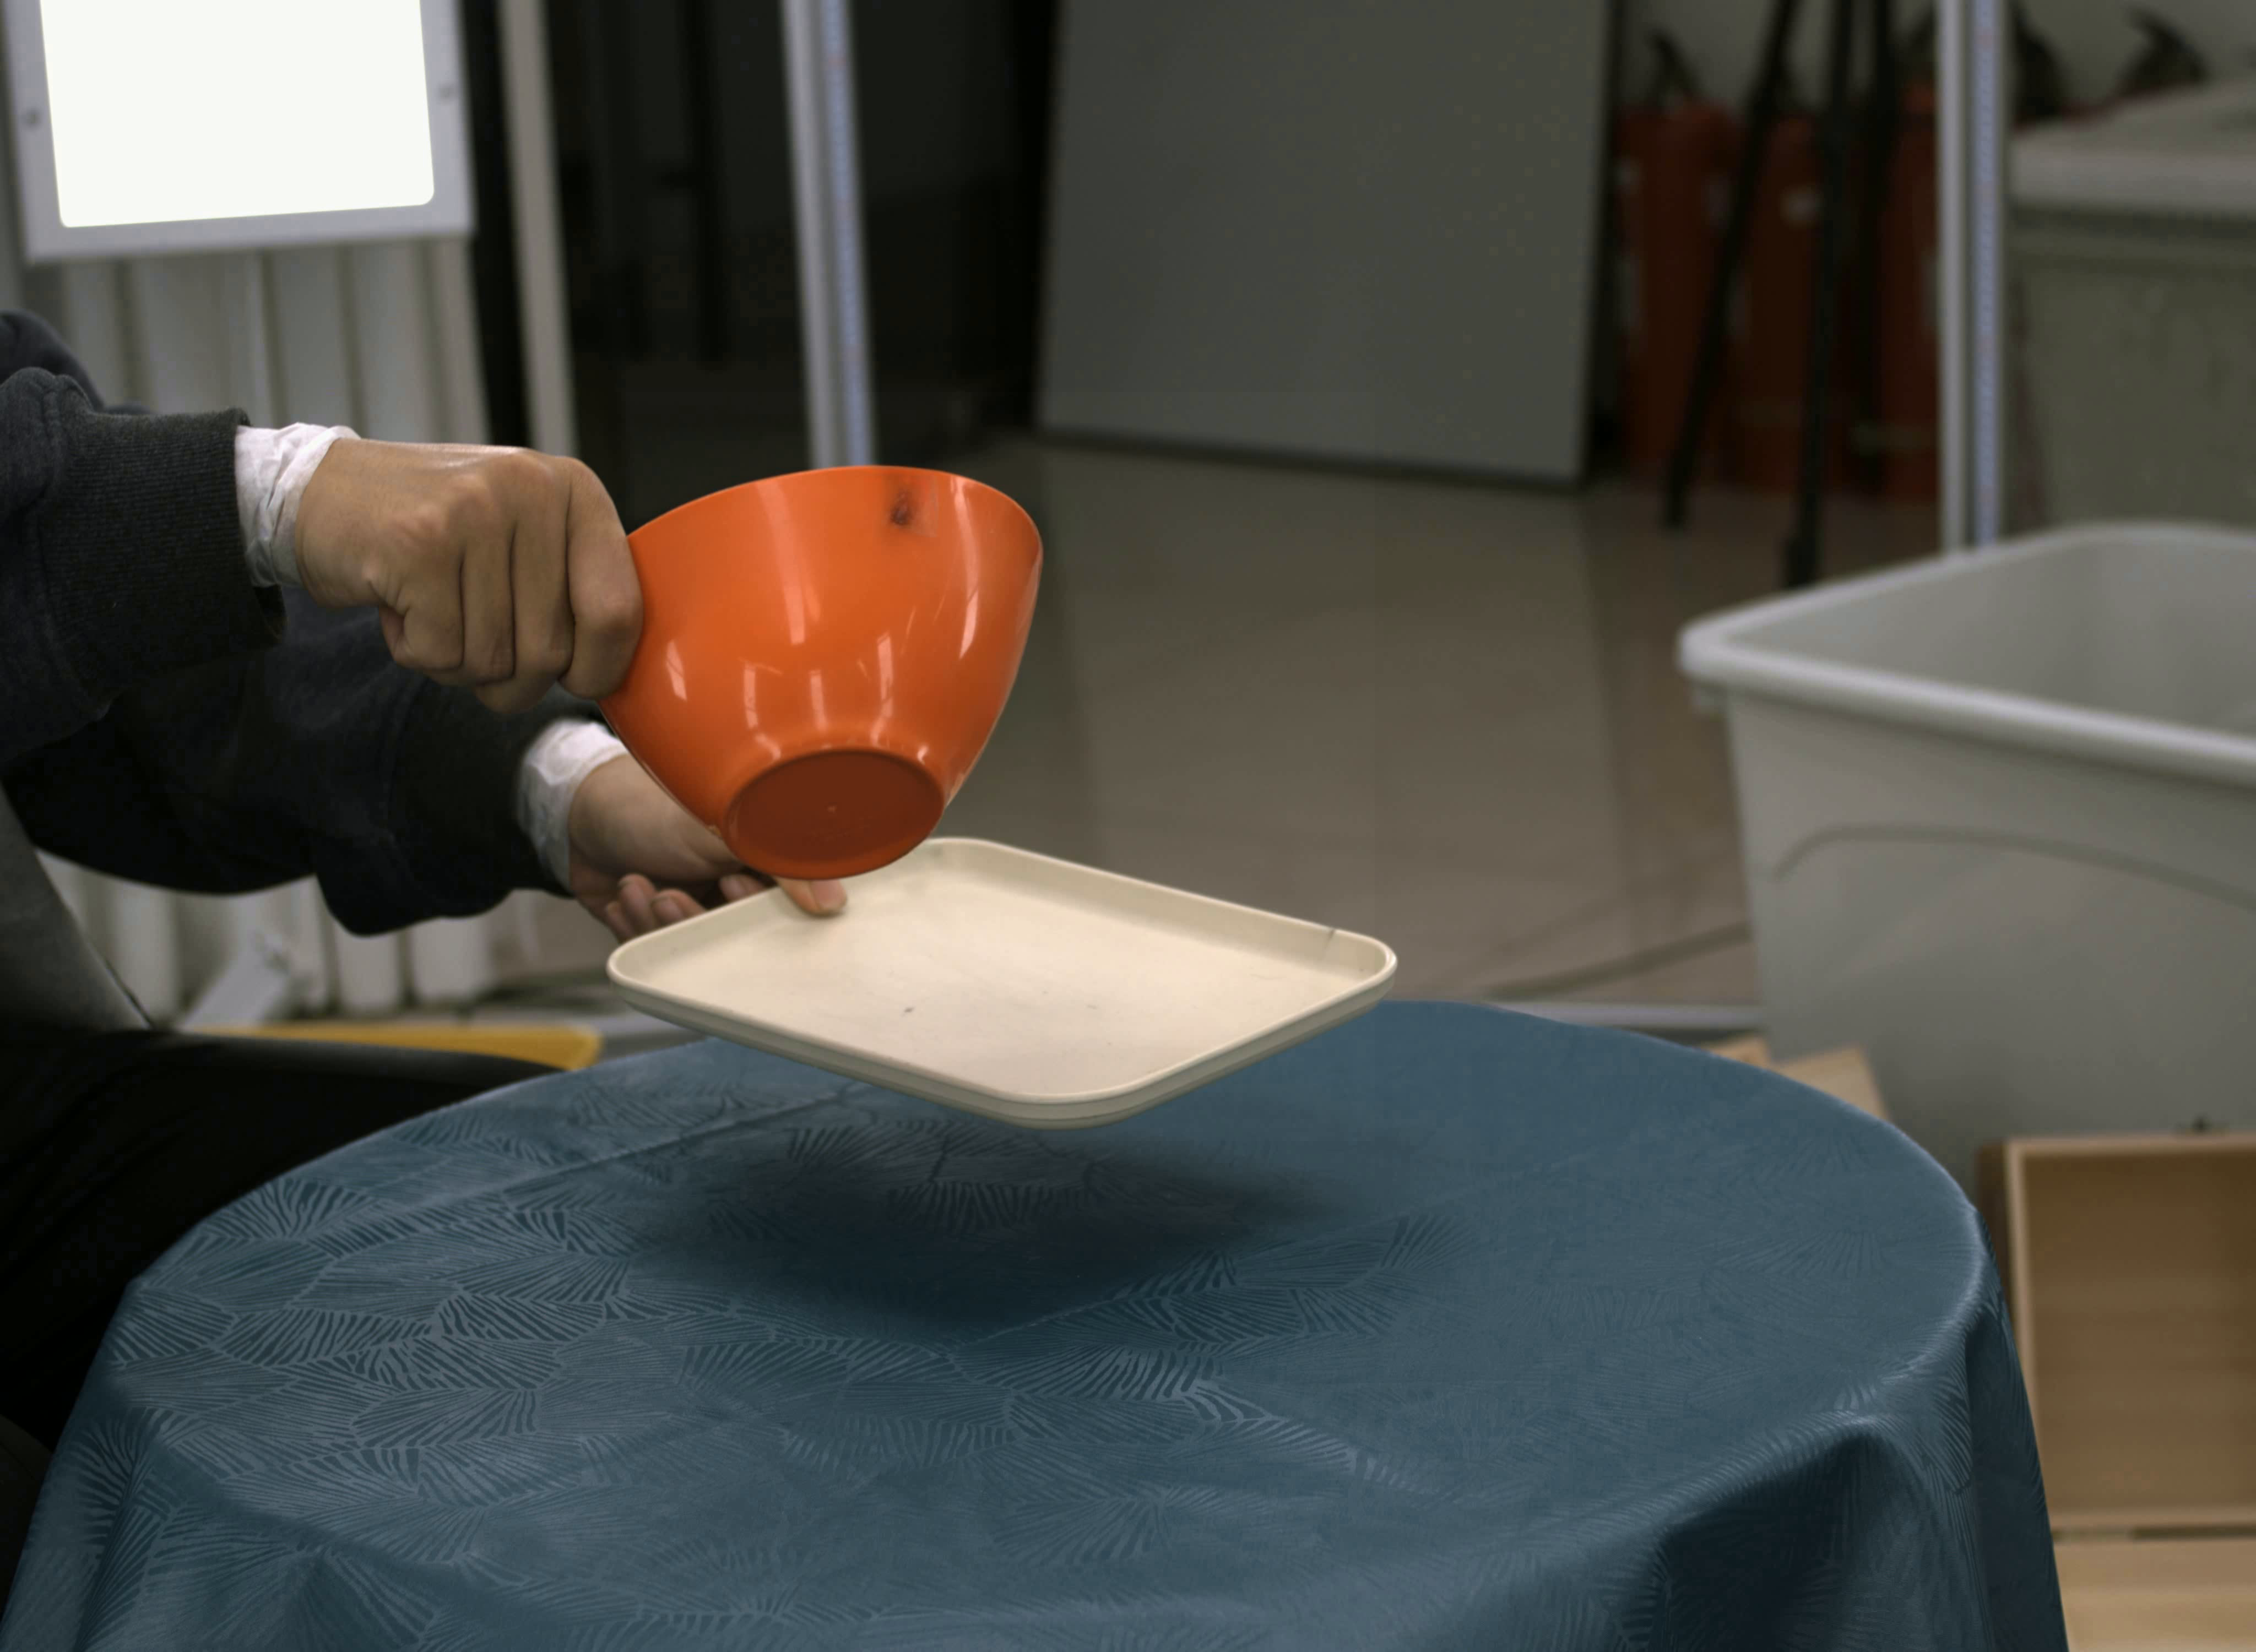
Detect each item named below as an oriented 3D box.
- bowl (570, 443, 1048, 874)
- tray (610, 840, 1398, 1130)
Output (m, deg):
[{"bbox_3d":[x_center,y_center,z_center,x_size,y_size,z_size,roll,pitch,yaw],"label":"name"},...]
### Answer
[{"bbox_3d":[-0.090,-0.041,1.607,0.145,0.148,0.106,-5,53,-6],"label":"bowl"},{"bbox_3d":[-0.042,0.050,1.762,0.168,0.017,0.242,-22,24,-40],"label":"tray"}]
